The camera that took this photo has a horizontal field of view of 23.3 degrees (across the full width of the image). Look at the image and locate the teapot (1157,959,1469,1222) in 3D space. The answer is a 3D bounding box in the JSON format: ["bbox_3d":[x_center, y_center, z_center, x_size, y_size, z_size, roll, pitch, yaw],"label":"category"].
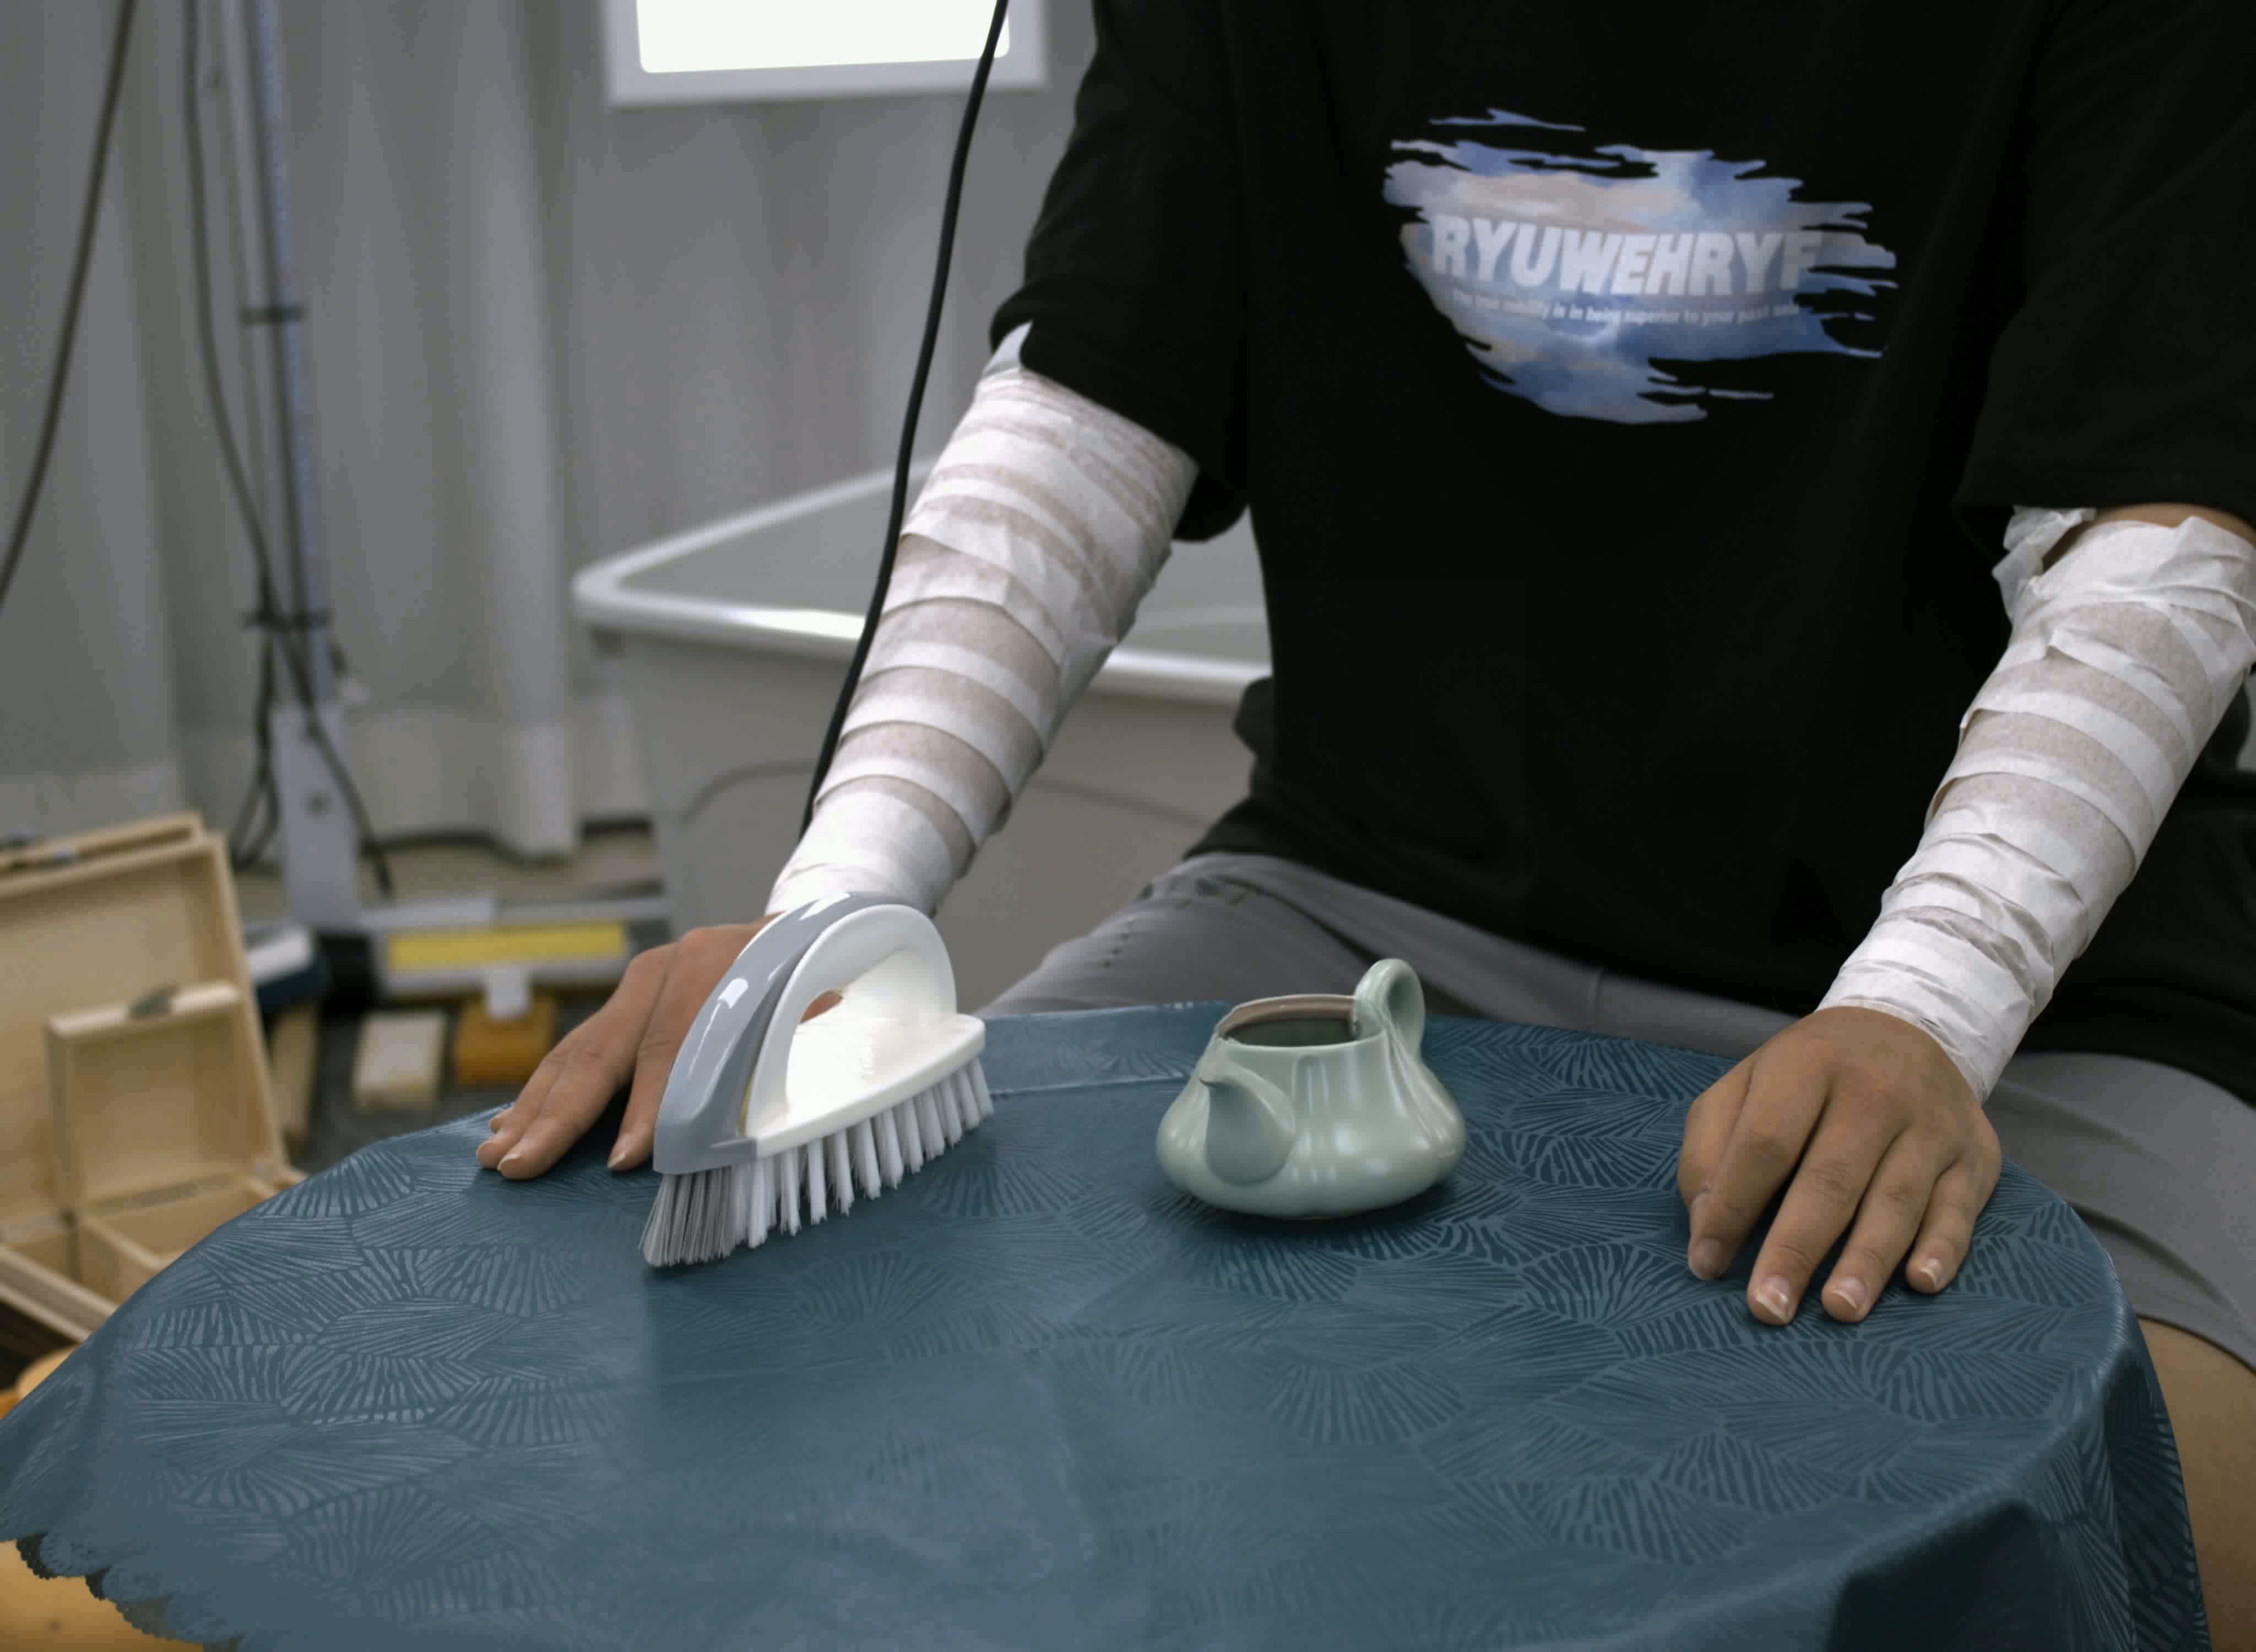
[{"bbox_3d":[0.058,0.085,1.698,0.096,0.061,0.137,2,15,27],"label":"teapot"}]

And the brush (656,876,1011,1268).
[{"bbox_3d":[-0.101,0.072,1.717,0.061,0.094,0.176,1,16,28],"label":"brush"}]
